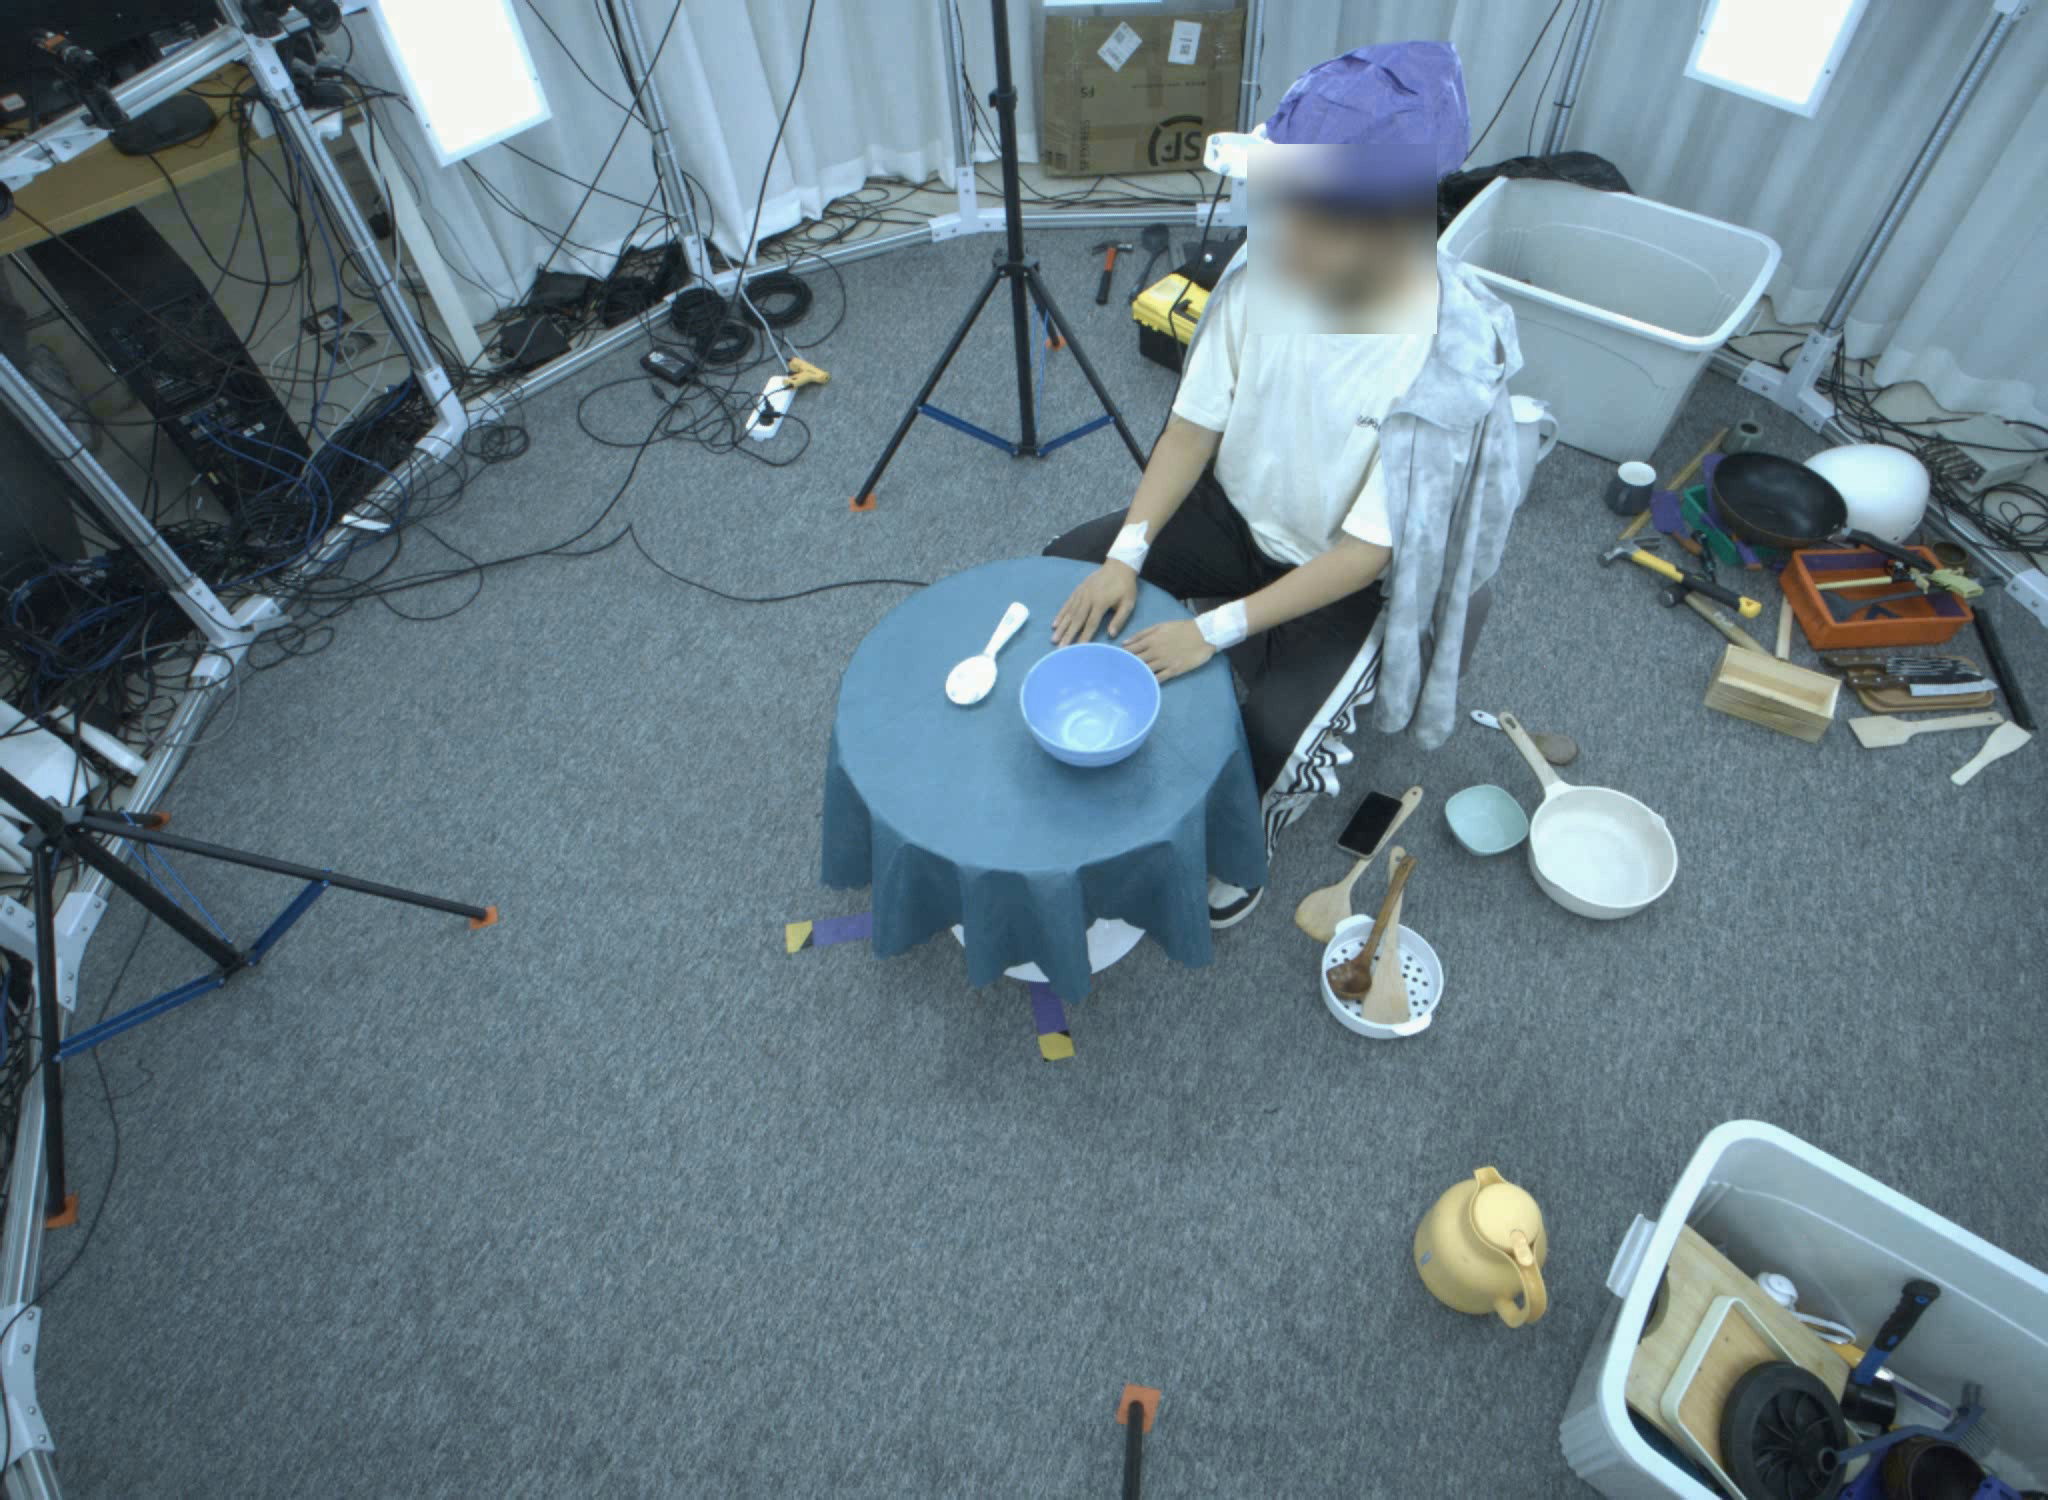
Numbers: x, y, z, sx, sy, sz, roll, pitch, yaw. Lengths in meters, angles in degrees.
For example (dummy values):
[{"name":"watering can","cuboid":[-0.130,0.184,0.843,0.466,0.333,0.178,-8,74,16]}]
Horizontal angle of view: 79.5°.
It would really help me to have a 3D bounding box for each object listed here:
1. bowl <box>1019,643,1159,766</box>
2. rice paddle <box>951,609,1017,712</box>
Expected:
[{"name":"bowl","cuboid":[0.095,-0.050,1.762,0.196,0.096,0.194,-2,55,3]},{"name":"rice paddle","cuboid":[-0.056,-0.136,1.875,0.069,0.029,0.205,21,54,1]}]
